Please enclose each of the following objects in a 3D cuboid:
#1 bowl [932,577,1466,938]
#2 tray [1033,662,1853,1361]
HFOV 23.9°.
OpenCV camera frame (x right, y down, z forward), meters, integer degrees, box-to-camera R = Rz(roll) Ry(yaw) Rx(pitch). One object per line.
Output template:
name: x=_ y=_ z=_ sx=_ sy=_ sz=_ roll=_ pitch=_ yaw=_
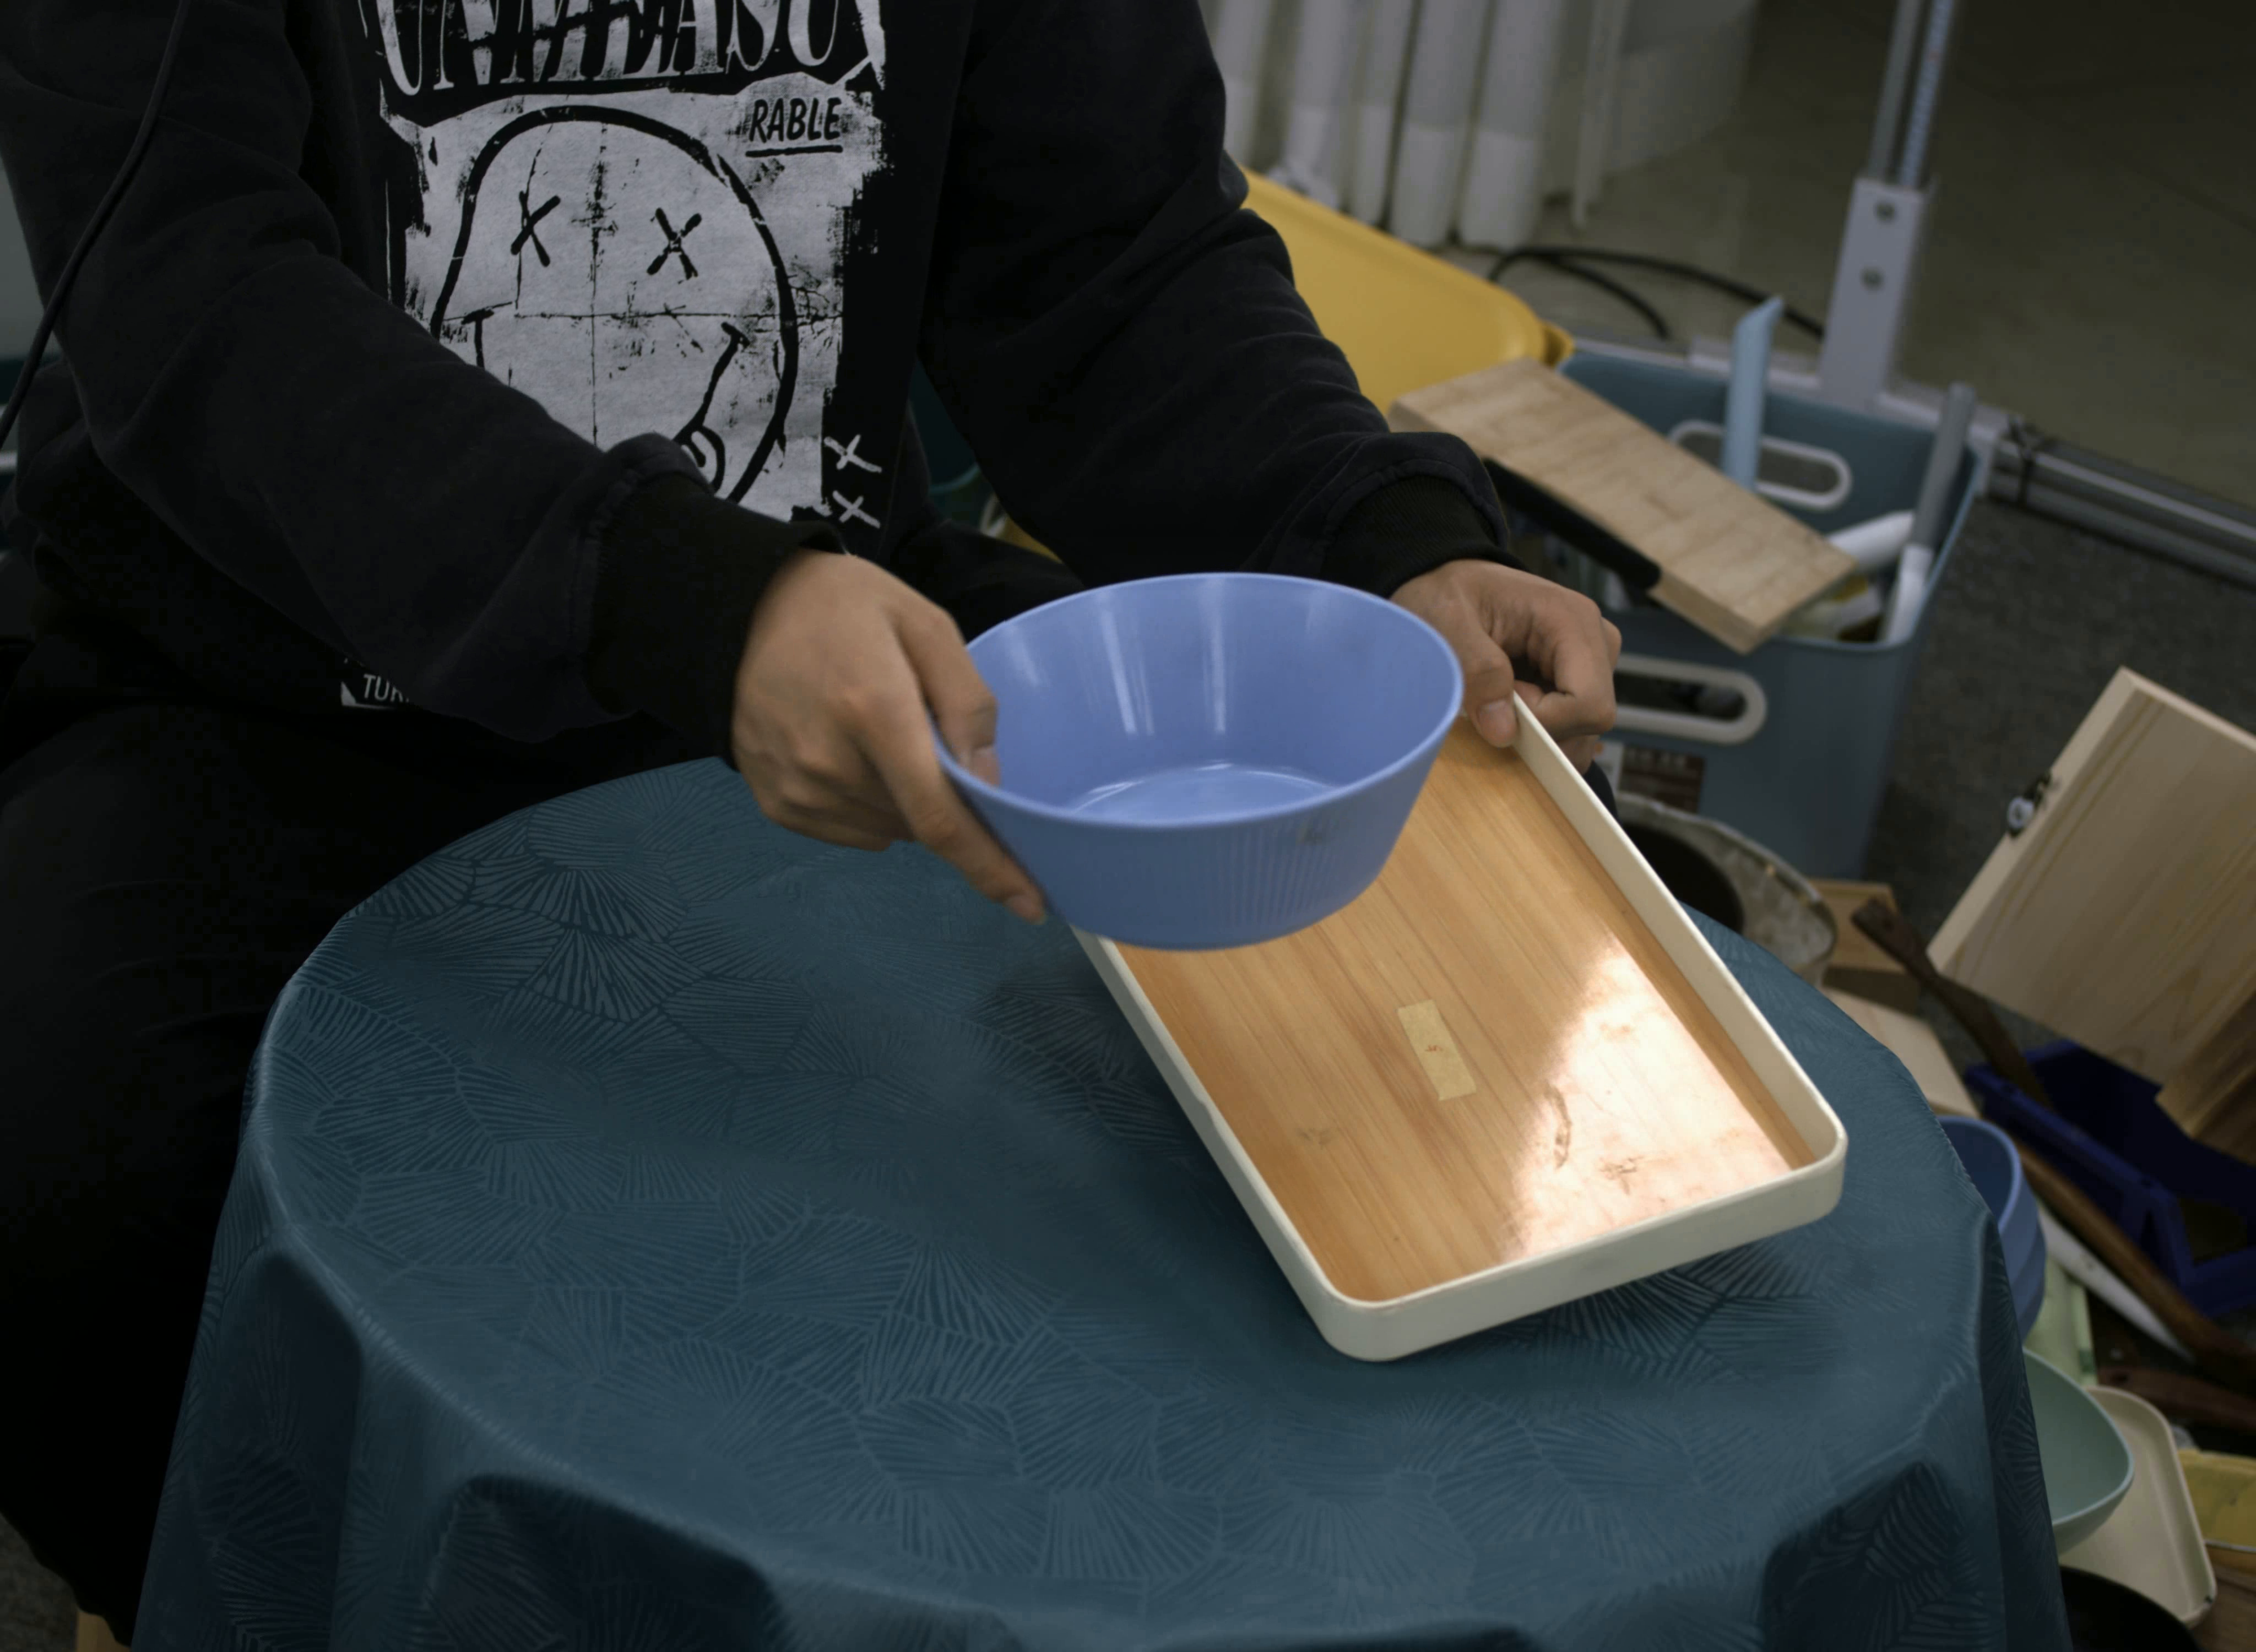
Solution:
bowl: x=0.025 y=-0.018 z=1.749 sx=0.175 sy=0.070 sz=0.177 roll=-3 pitch=26 yaw=1
tray: x=0.102 y=0.057 z=1.841 sx=0.191 sy=0.027 sz=0.303 roll=-16 pitch=41 yaw=-15
